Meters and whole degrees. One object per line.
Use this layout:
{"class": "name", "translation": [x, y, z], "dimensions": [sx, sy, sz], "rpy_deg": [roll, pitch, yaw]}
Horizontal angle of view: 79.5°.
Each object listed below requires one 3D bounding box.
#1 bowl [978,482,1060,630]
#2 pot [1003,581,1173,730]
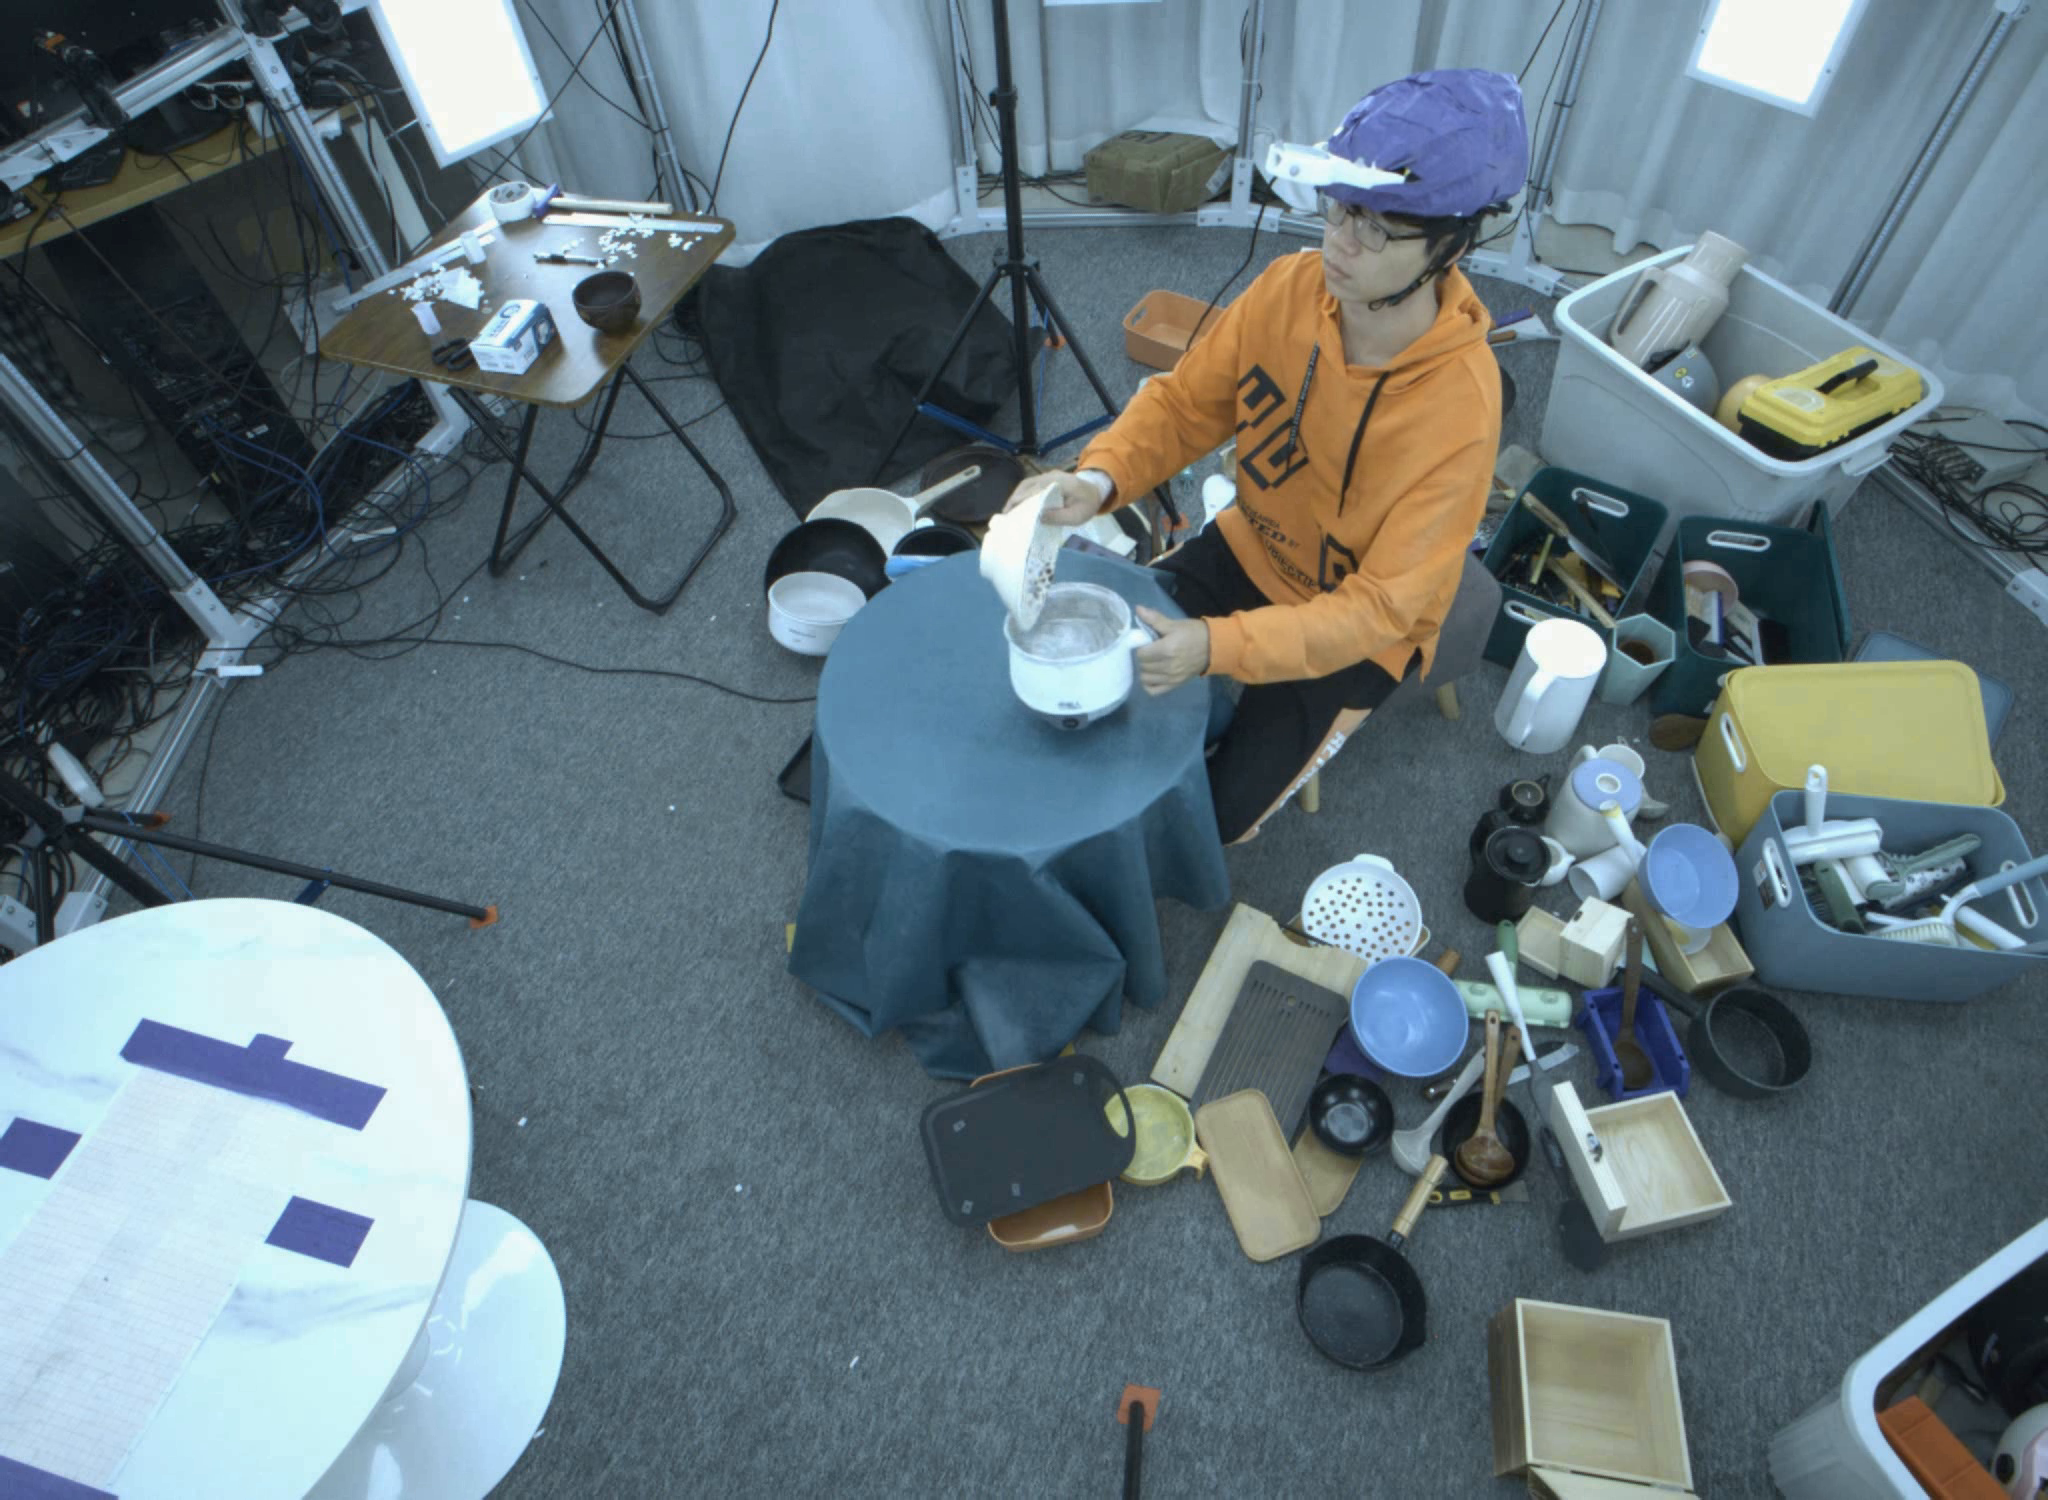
{"class": "bowl", "translation": [-0.015, -0.270, 1.661], "dimensions": [0.077, 0.205, 0.203], "rpy_deg": [13, 57, 7]}
{"class": "pot", "translation": [0.093, -0.136, 1.745], "dimensions": [0.233, 0.138, 0.177], "rpy_deg": [-3, 46, 5]}
